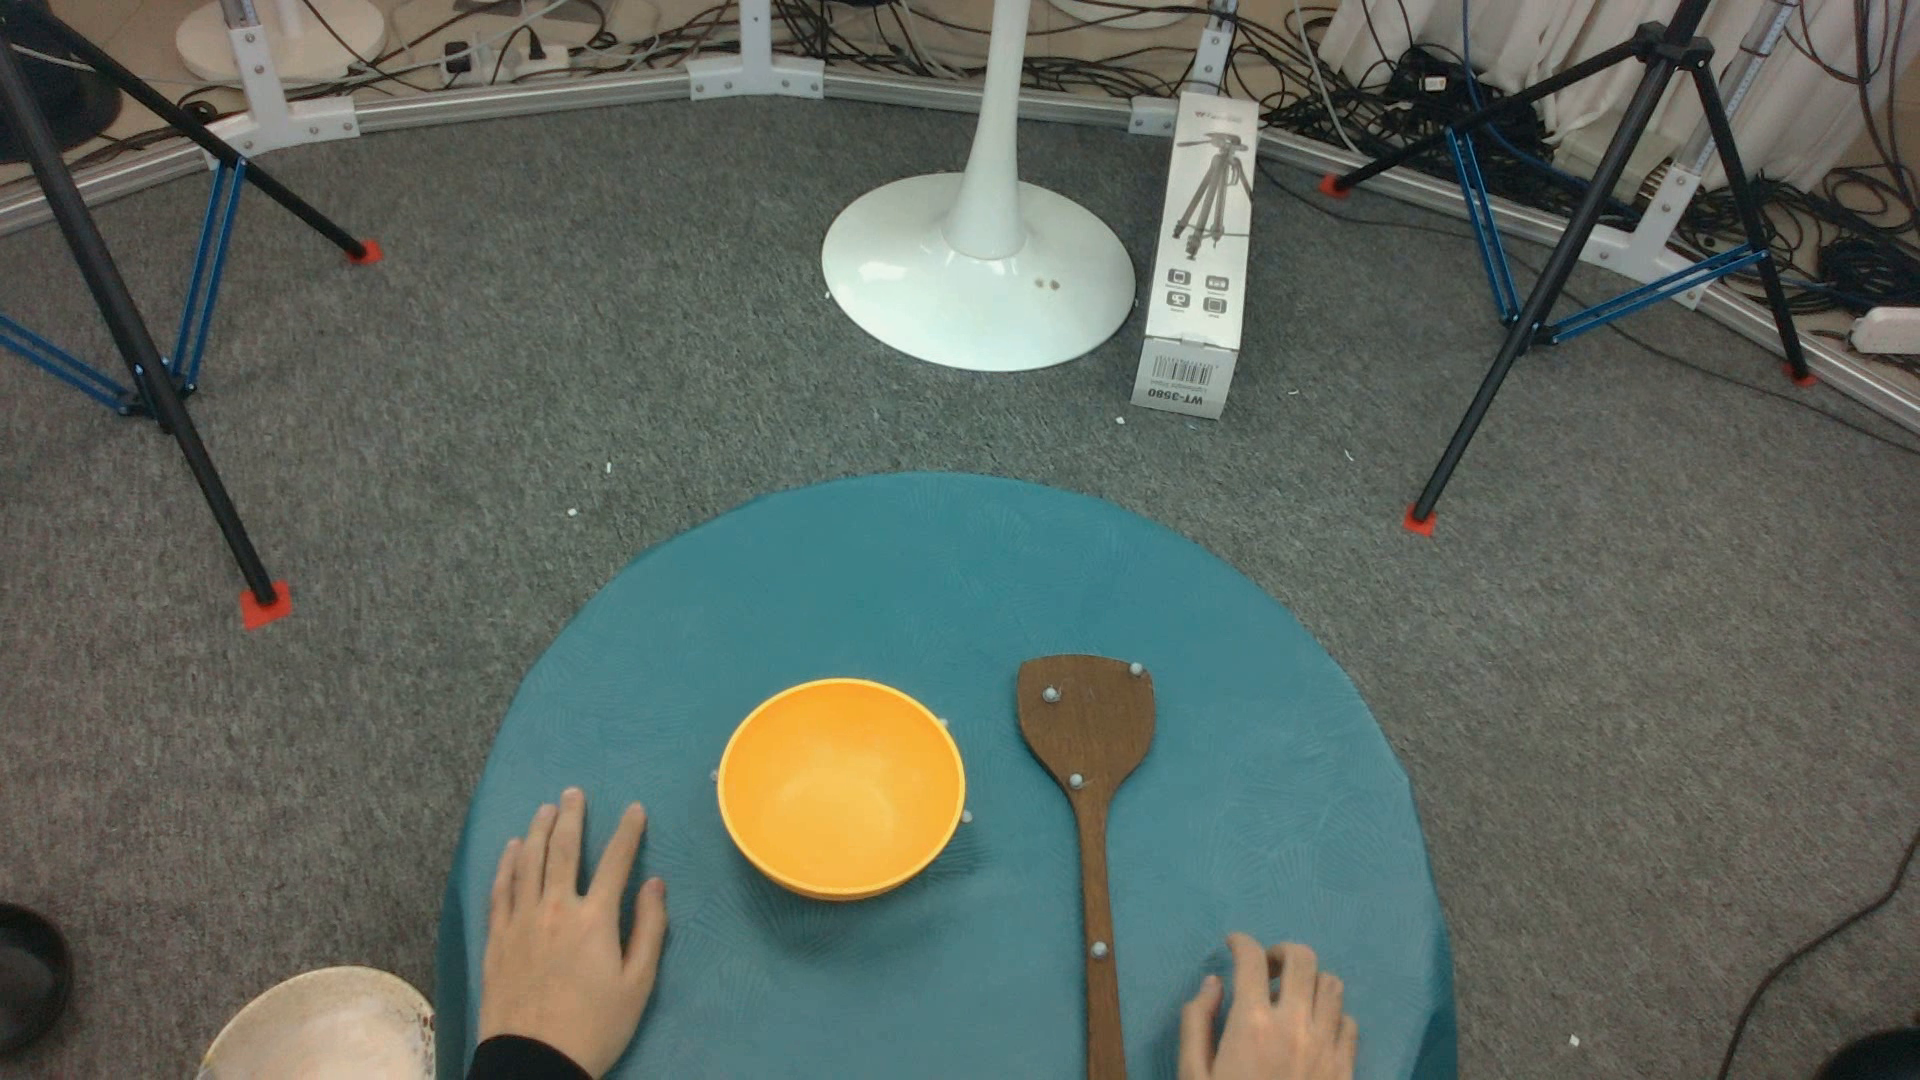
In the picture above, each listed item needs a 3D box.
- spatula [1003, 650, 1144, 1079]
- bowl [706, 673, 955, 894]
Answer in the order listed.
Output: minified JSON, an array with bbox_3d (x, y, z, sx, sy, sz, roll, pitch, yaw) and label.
[{"bbox_3d":[0.075,0.223,0.819,0.096,0.015,0.388,4,49,-4],"label":"spatula"},{"bbox_3d":[-0.077,0.155,0.827,0.145,0.060,0.146,3,49,-3],"label":"bowl"}]
